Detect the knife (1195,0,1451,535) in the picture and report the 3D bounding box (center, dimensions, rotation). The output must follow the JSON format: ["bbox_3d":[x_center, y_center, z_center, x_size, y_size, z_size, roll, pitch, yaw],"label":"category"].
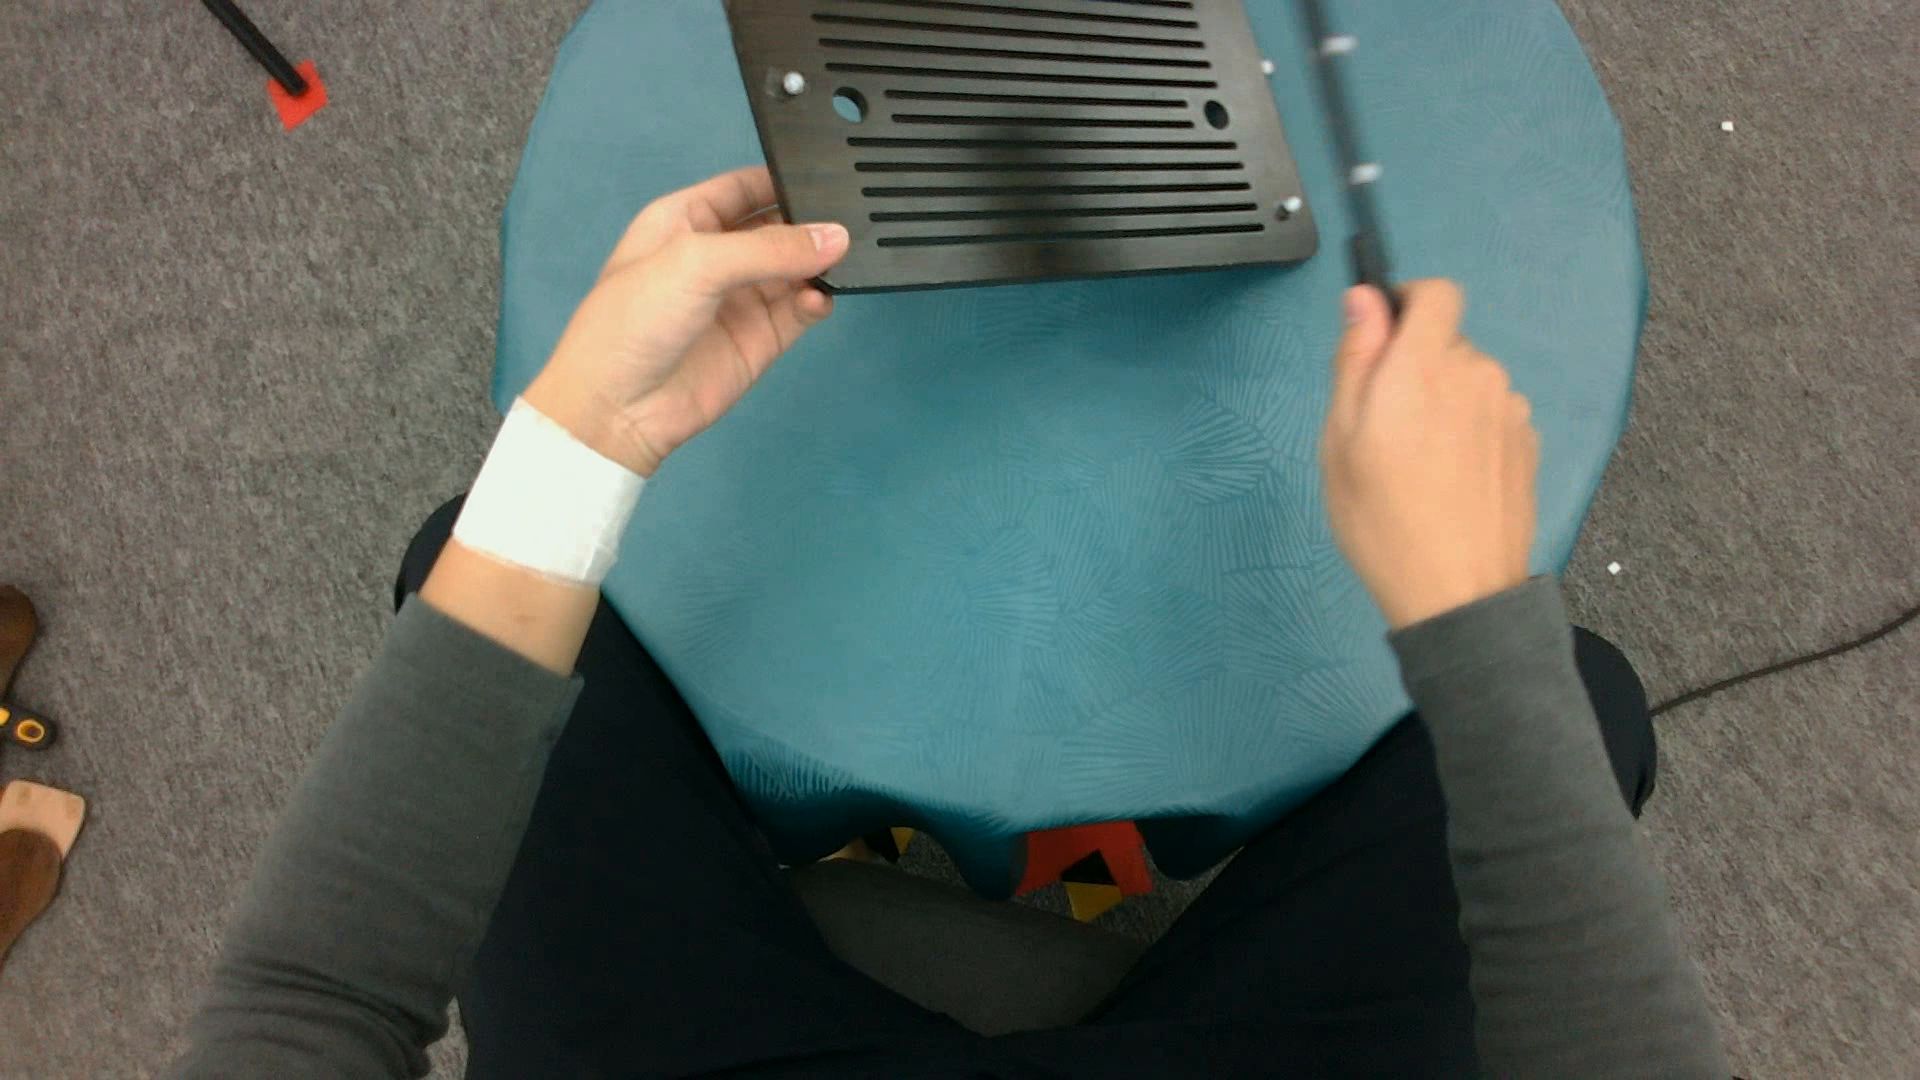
[{"bbox_3d":[0.141,-0.144,0.578,0.021,0.081,0.302,-24,81,28],"label":"knife"}]

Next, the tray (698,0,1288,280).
[{"bbox_3d":[0.025,-0.207,0.651,0.307,0.018,0.170,-12,79,-36],"label":"tray"}]
